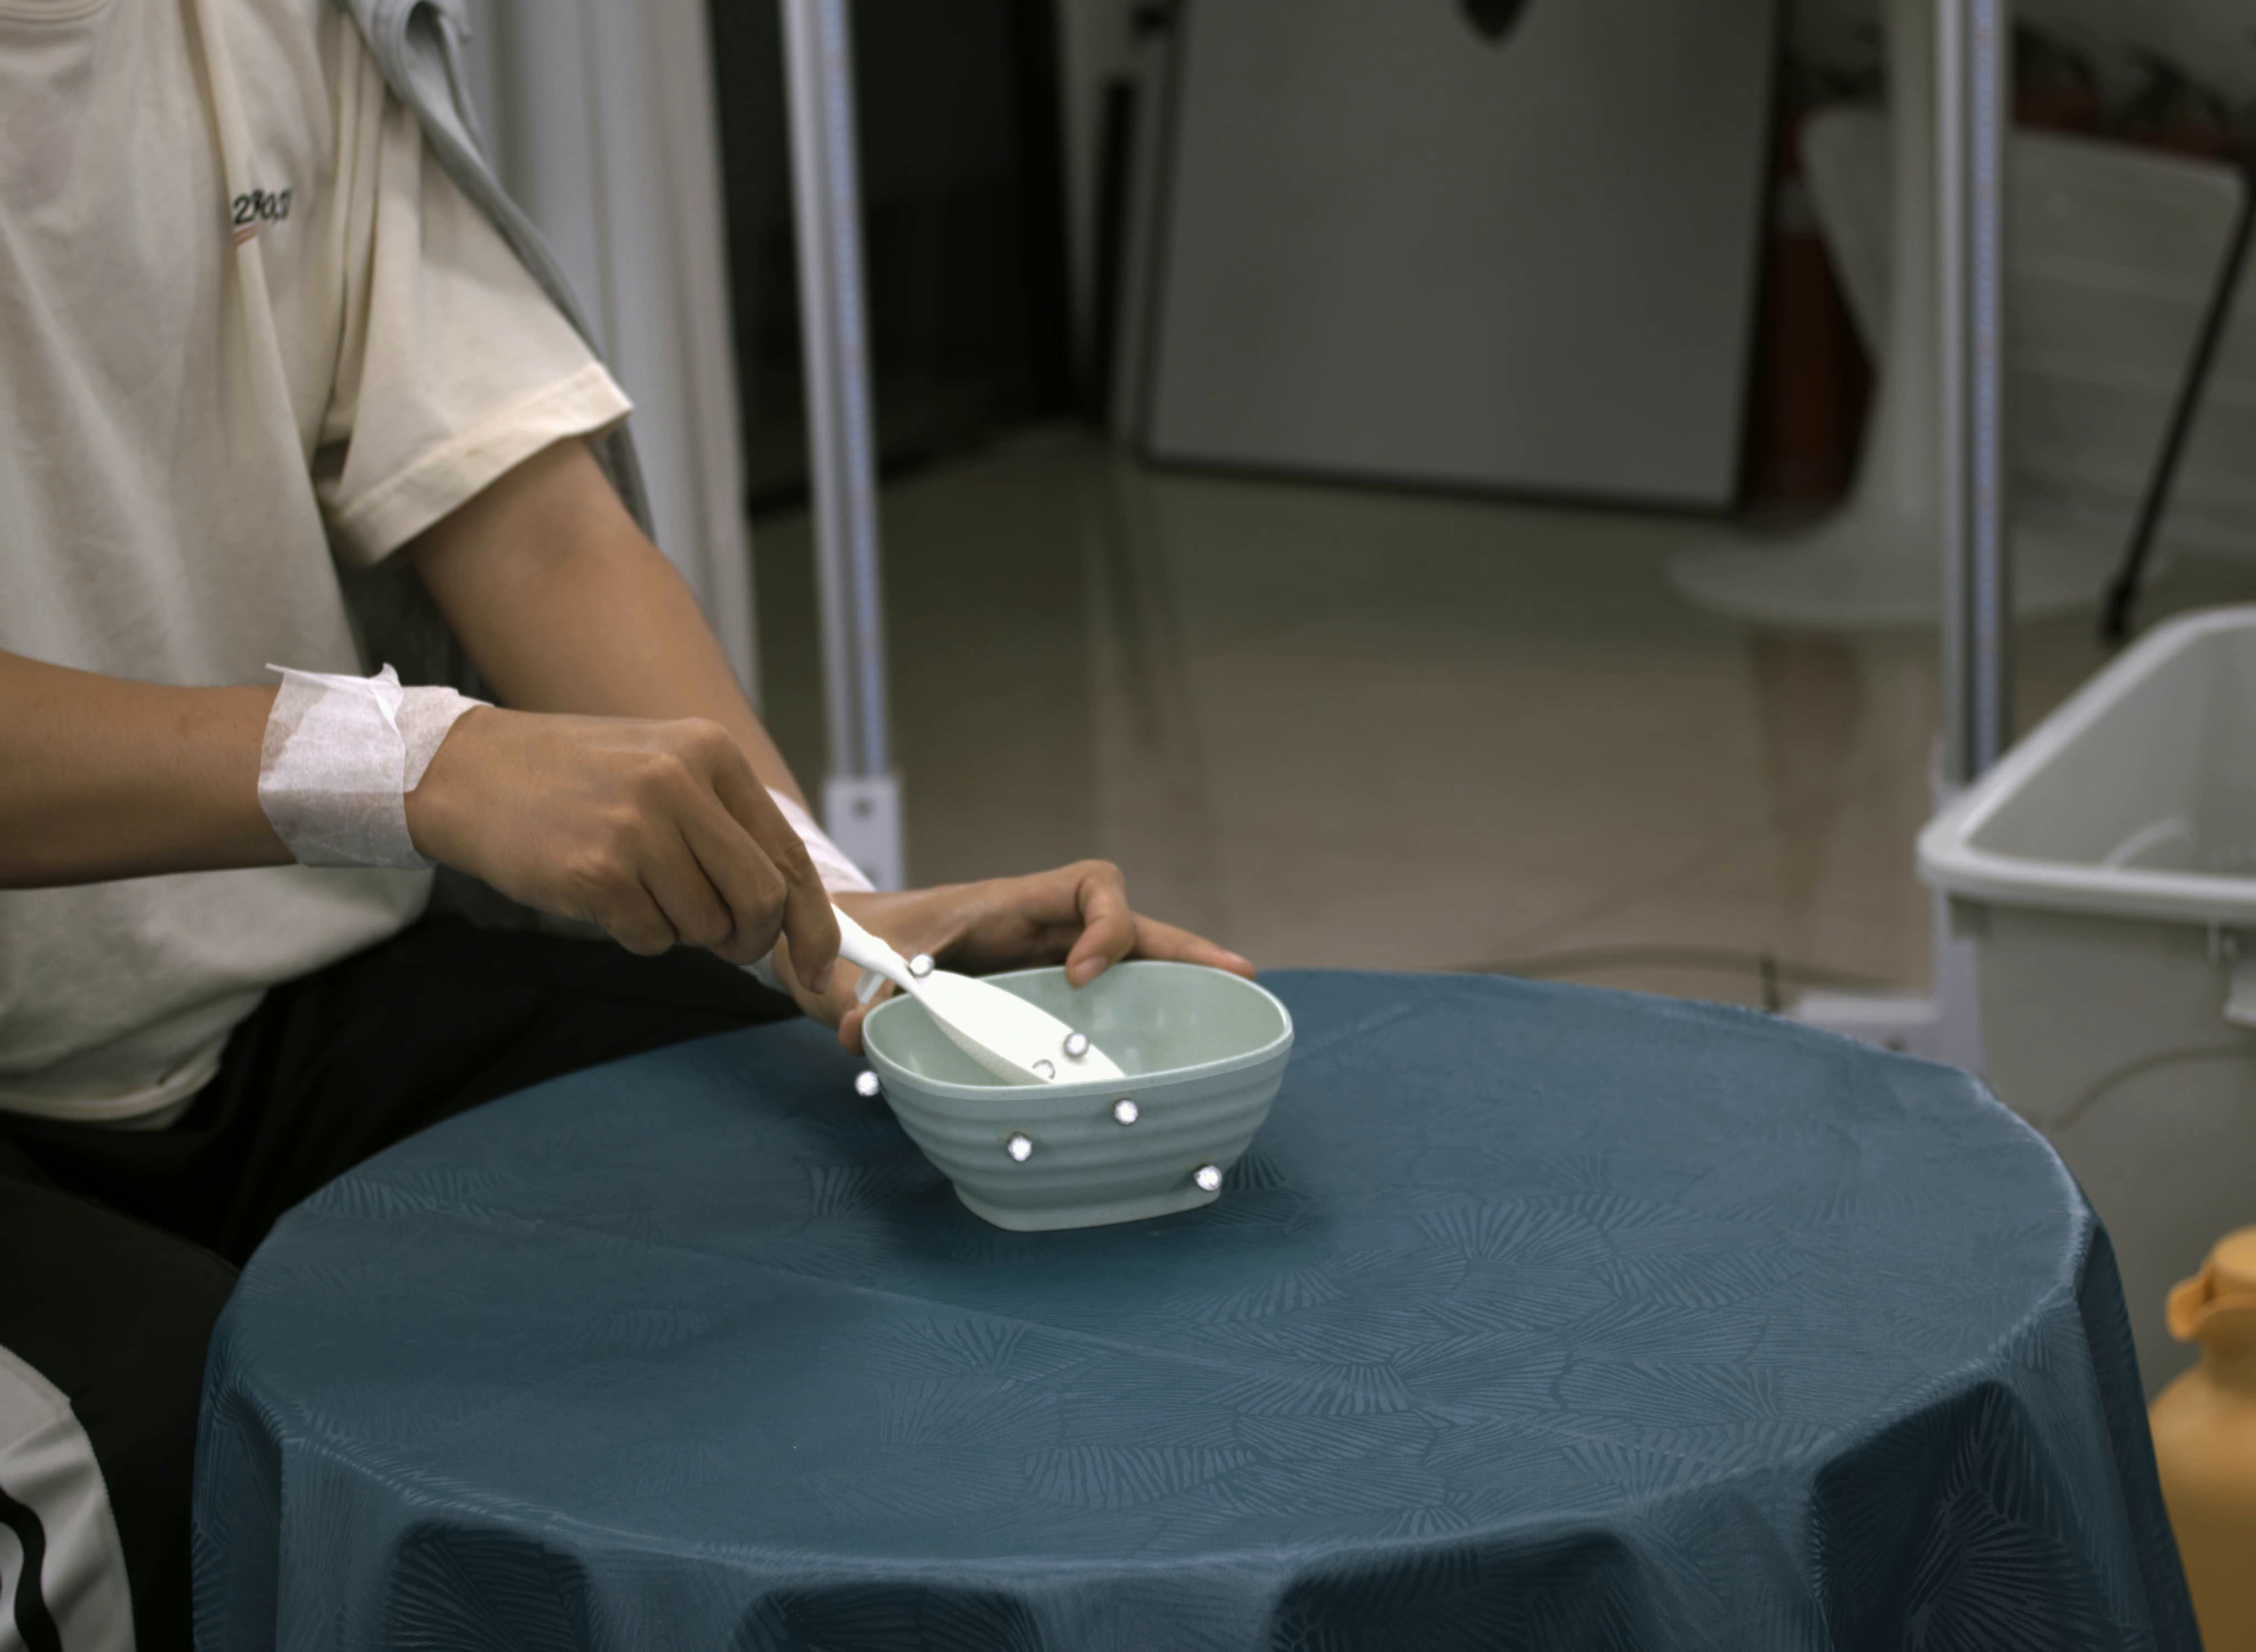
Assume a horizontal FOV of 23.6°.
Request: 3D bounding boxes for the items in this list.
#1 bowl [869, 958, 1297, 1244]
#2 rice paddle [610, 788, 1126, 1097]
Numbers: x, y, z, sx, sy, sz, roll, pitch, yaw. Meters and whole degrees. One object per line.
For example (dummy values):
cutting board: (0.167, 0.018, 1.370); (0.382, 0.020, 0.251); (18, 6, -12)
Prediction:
bowl: (-0.014, 0.093, 1.775); (0.149, 0.059, 0.152); (-4, 16, 0)
rice paddle: (-0.075, 0.046, 1.757); (0.202, 0.029, 0.069); (29, 15, -22)
